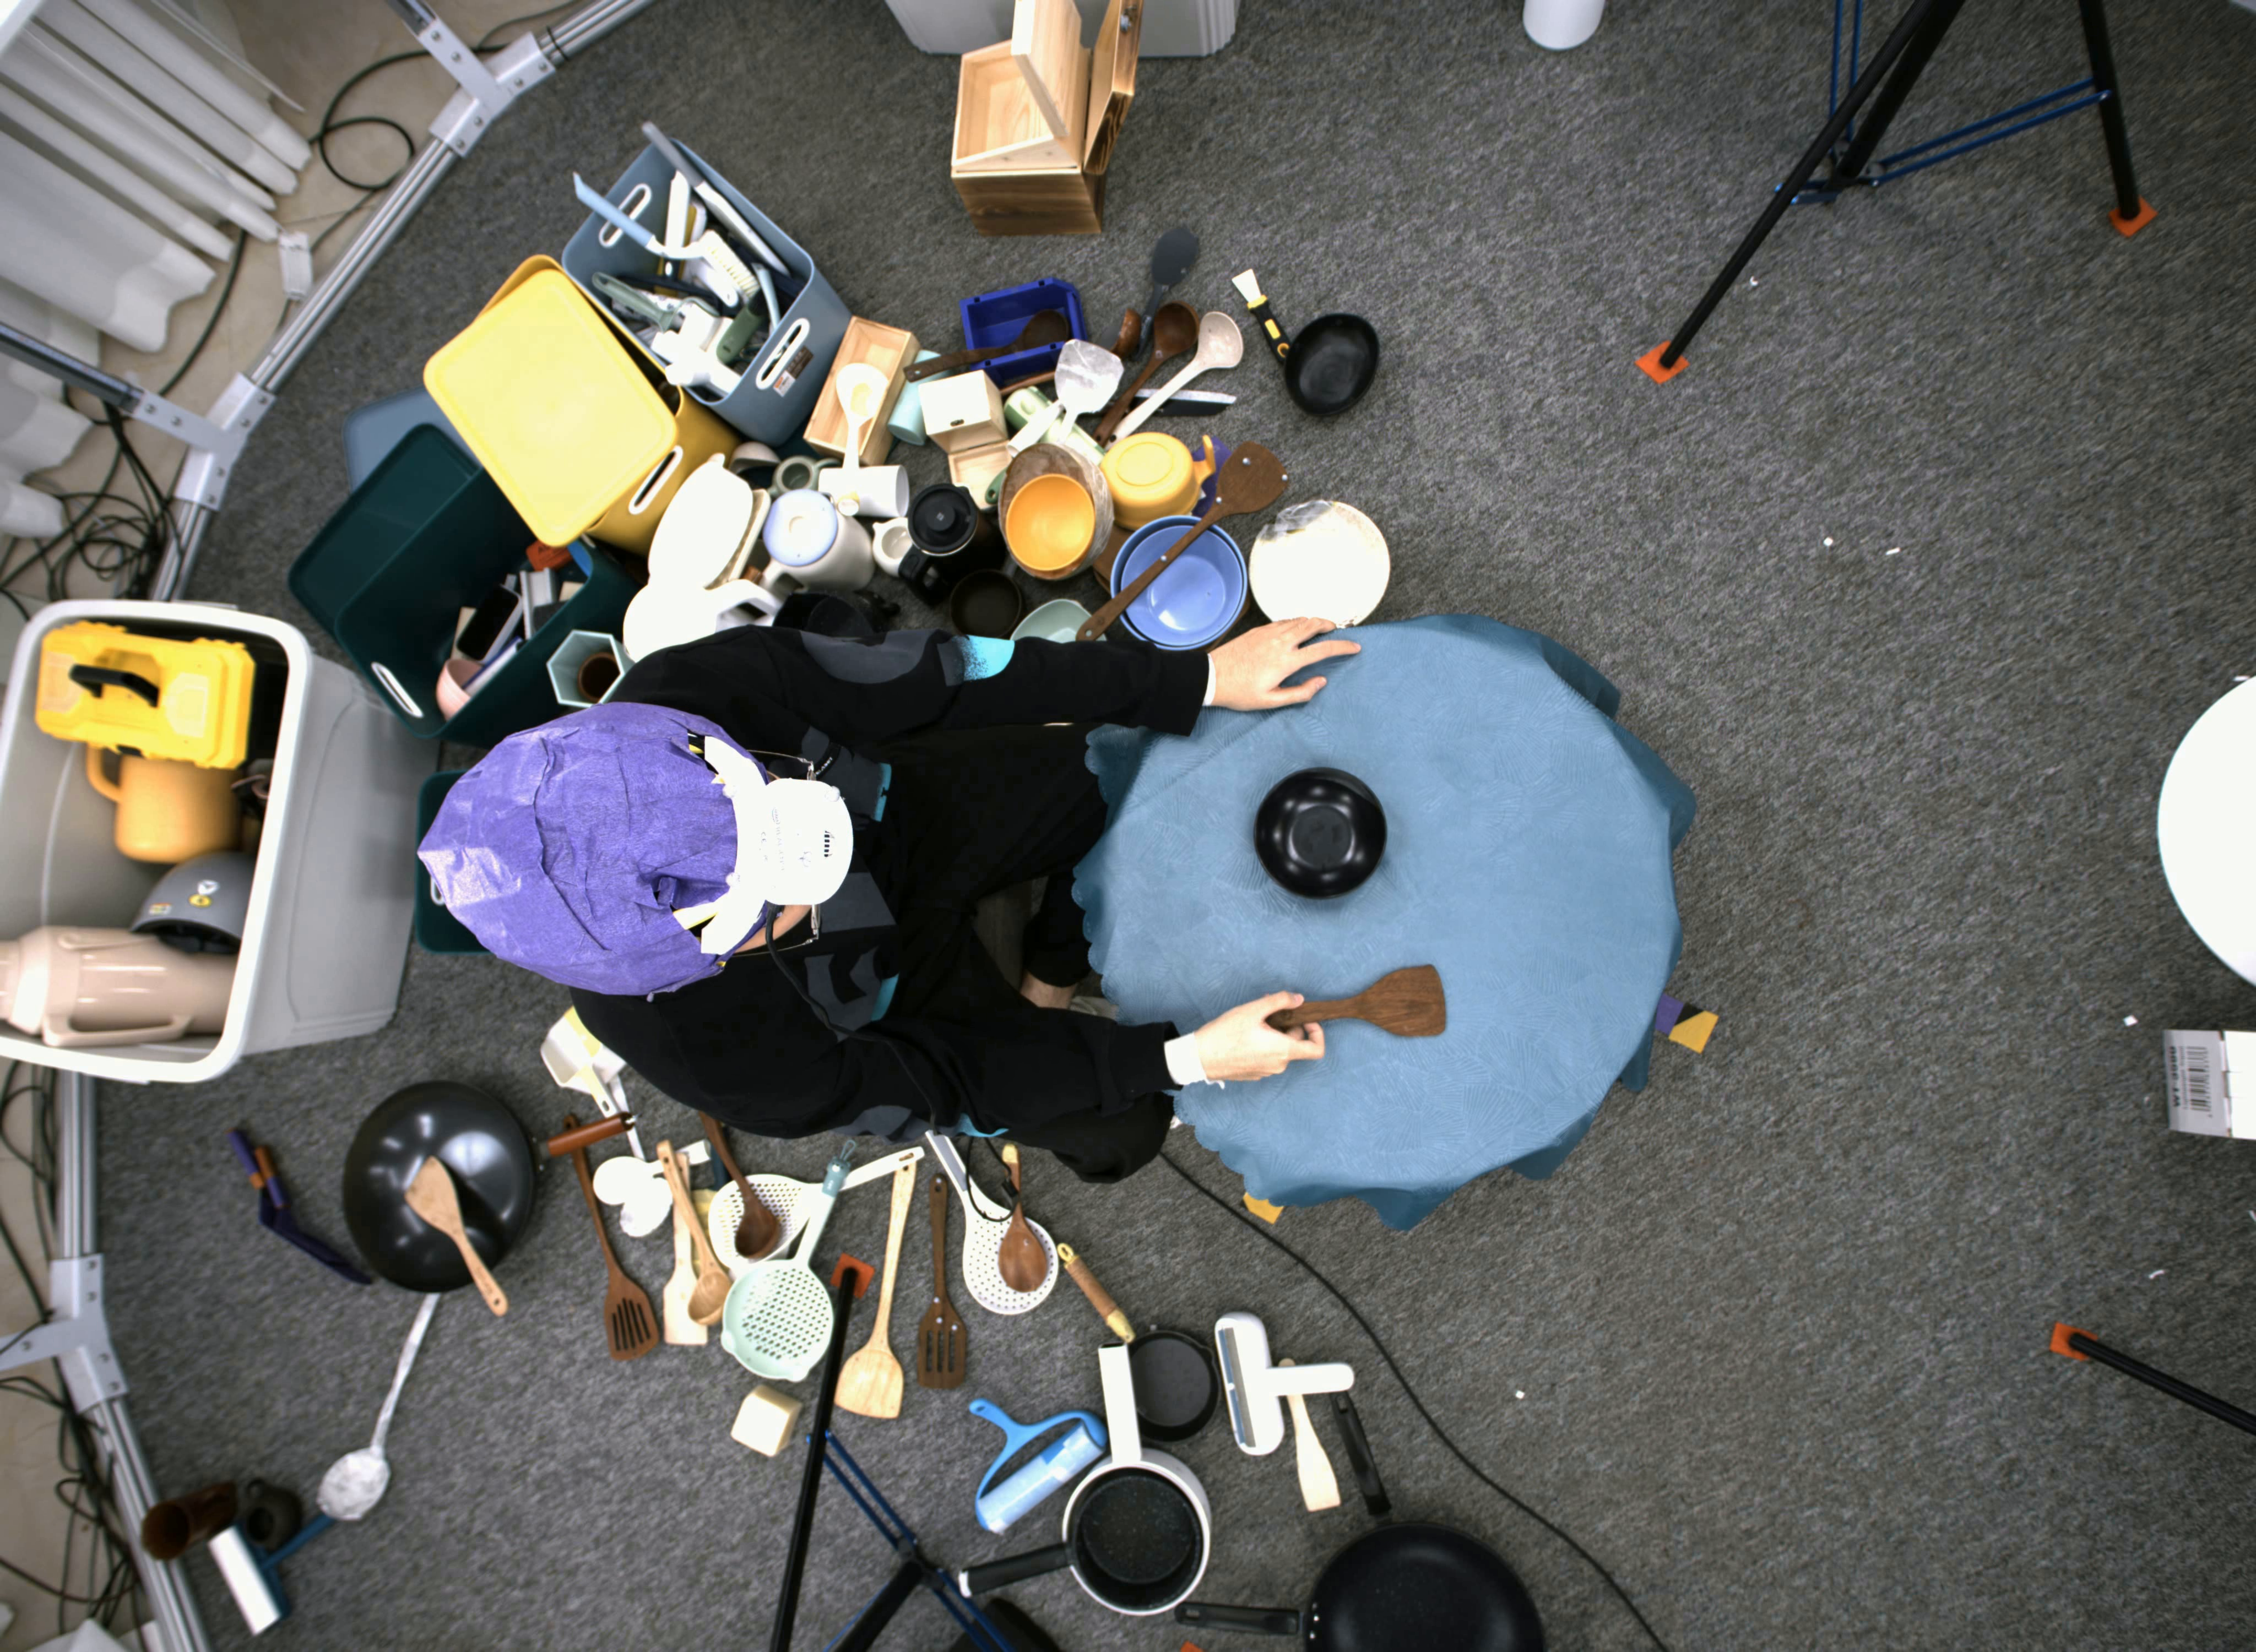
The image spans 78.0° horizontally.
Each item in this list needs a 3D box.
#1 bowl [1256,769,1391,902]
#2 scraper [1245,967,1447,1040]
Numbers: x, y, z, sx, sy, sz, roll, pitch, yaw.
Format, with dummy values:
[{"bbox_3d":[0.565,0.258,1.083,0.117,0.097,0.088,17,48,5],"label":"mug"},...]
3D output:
[{"bbox_3d":[0.206,0.010,1.456,0.140,0.050,0.139,0,88,10],"label":"bowl"},{"bbox_3d":[0.227,0.192,1.444,0.211,0.011,0.075,-6,83,-1],"label":"scraper"}]
